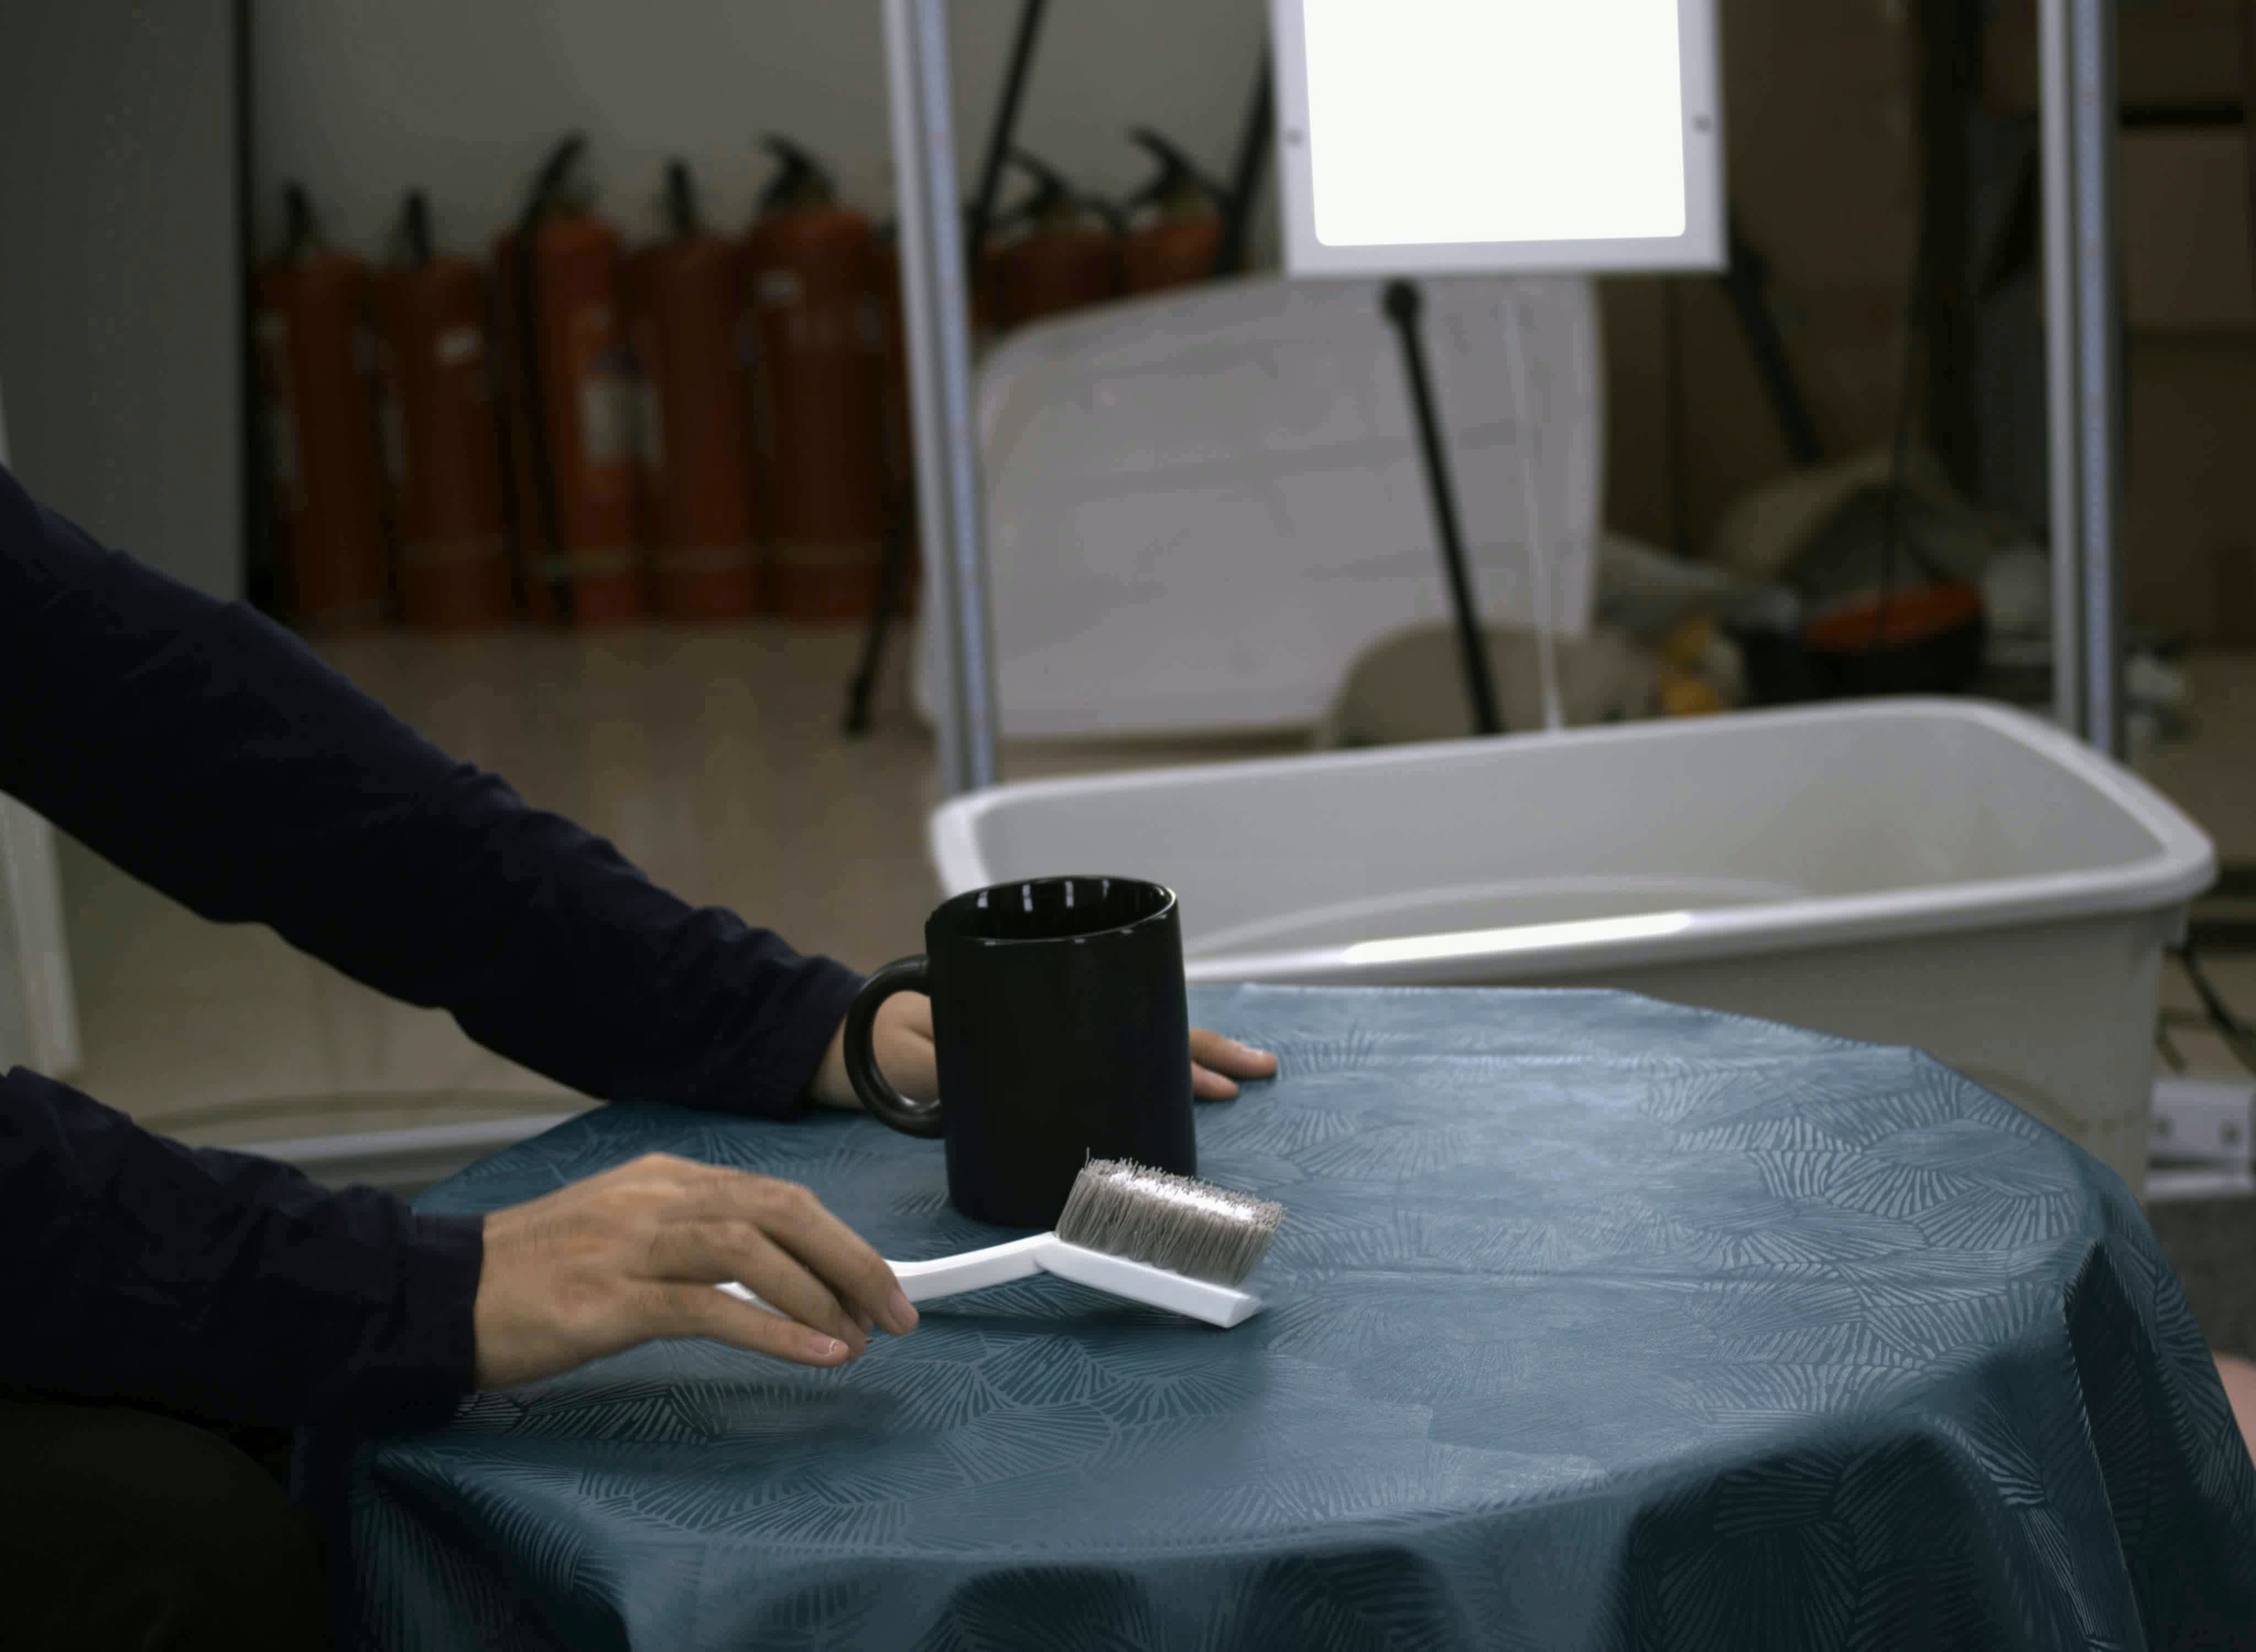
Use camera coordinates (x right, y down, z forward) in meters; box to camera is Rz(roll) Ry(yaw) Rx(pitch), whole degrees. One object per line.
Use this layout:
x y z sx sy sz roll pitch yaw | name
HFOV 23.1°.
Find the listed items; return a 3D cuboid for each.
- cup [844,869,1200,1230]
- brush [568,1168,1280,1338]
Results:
-0.040 0.077 1.900 0.125 0.105 0.087 -2 16 20 | cup
-0.070 0.136 1.786 0.246 0.050 0.034 0 19 19 | brush
